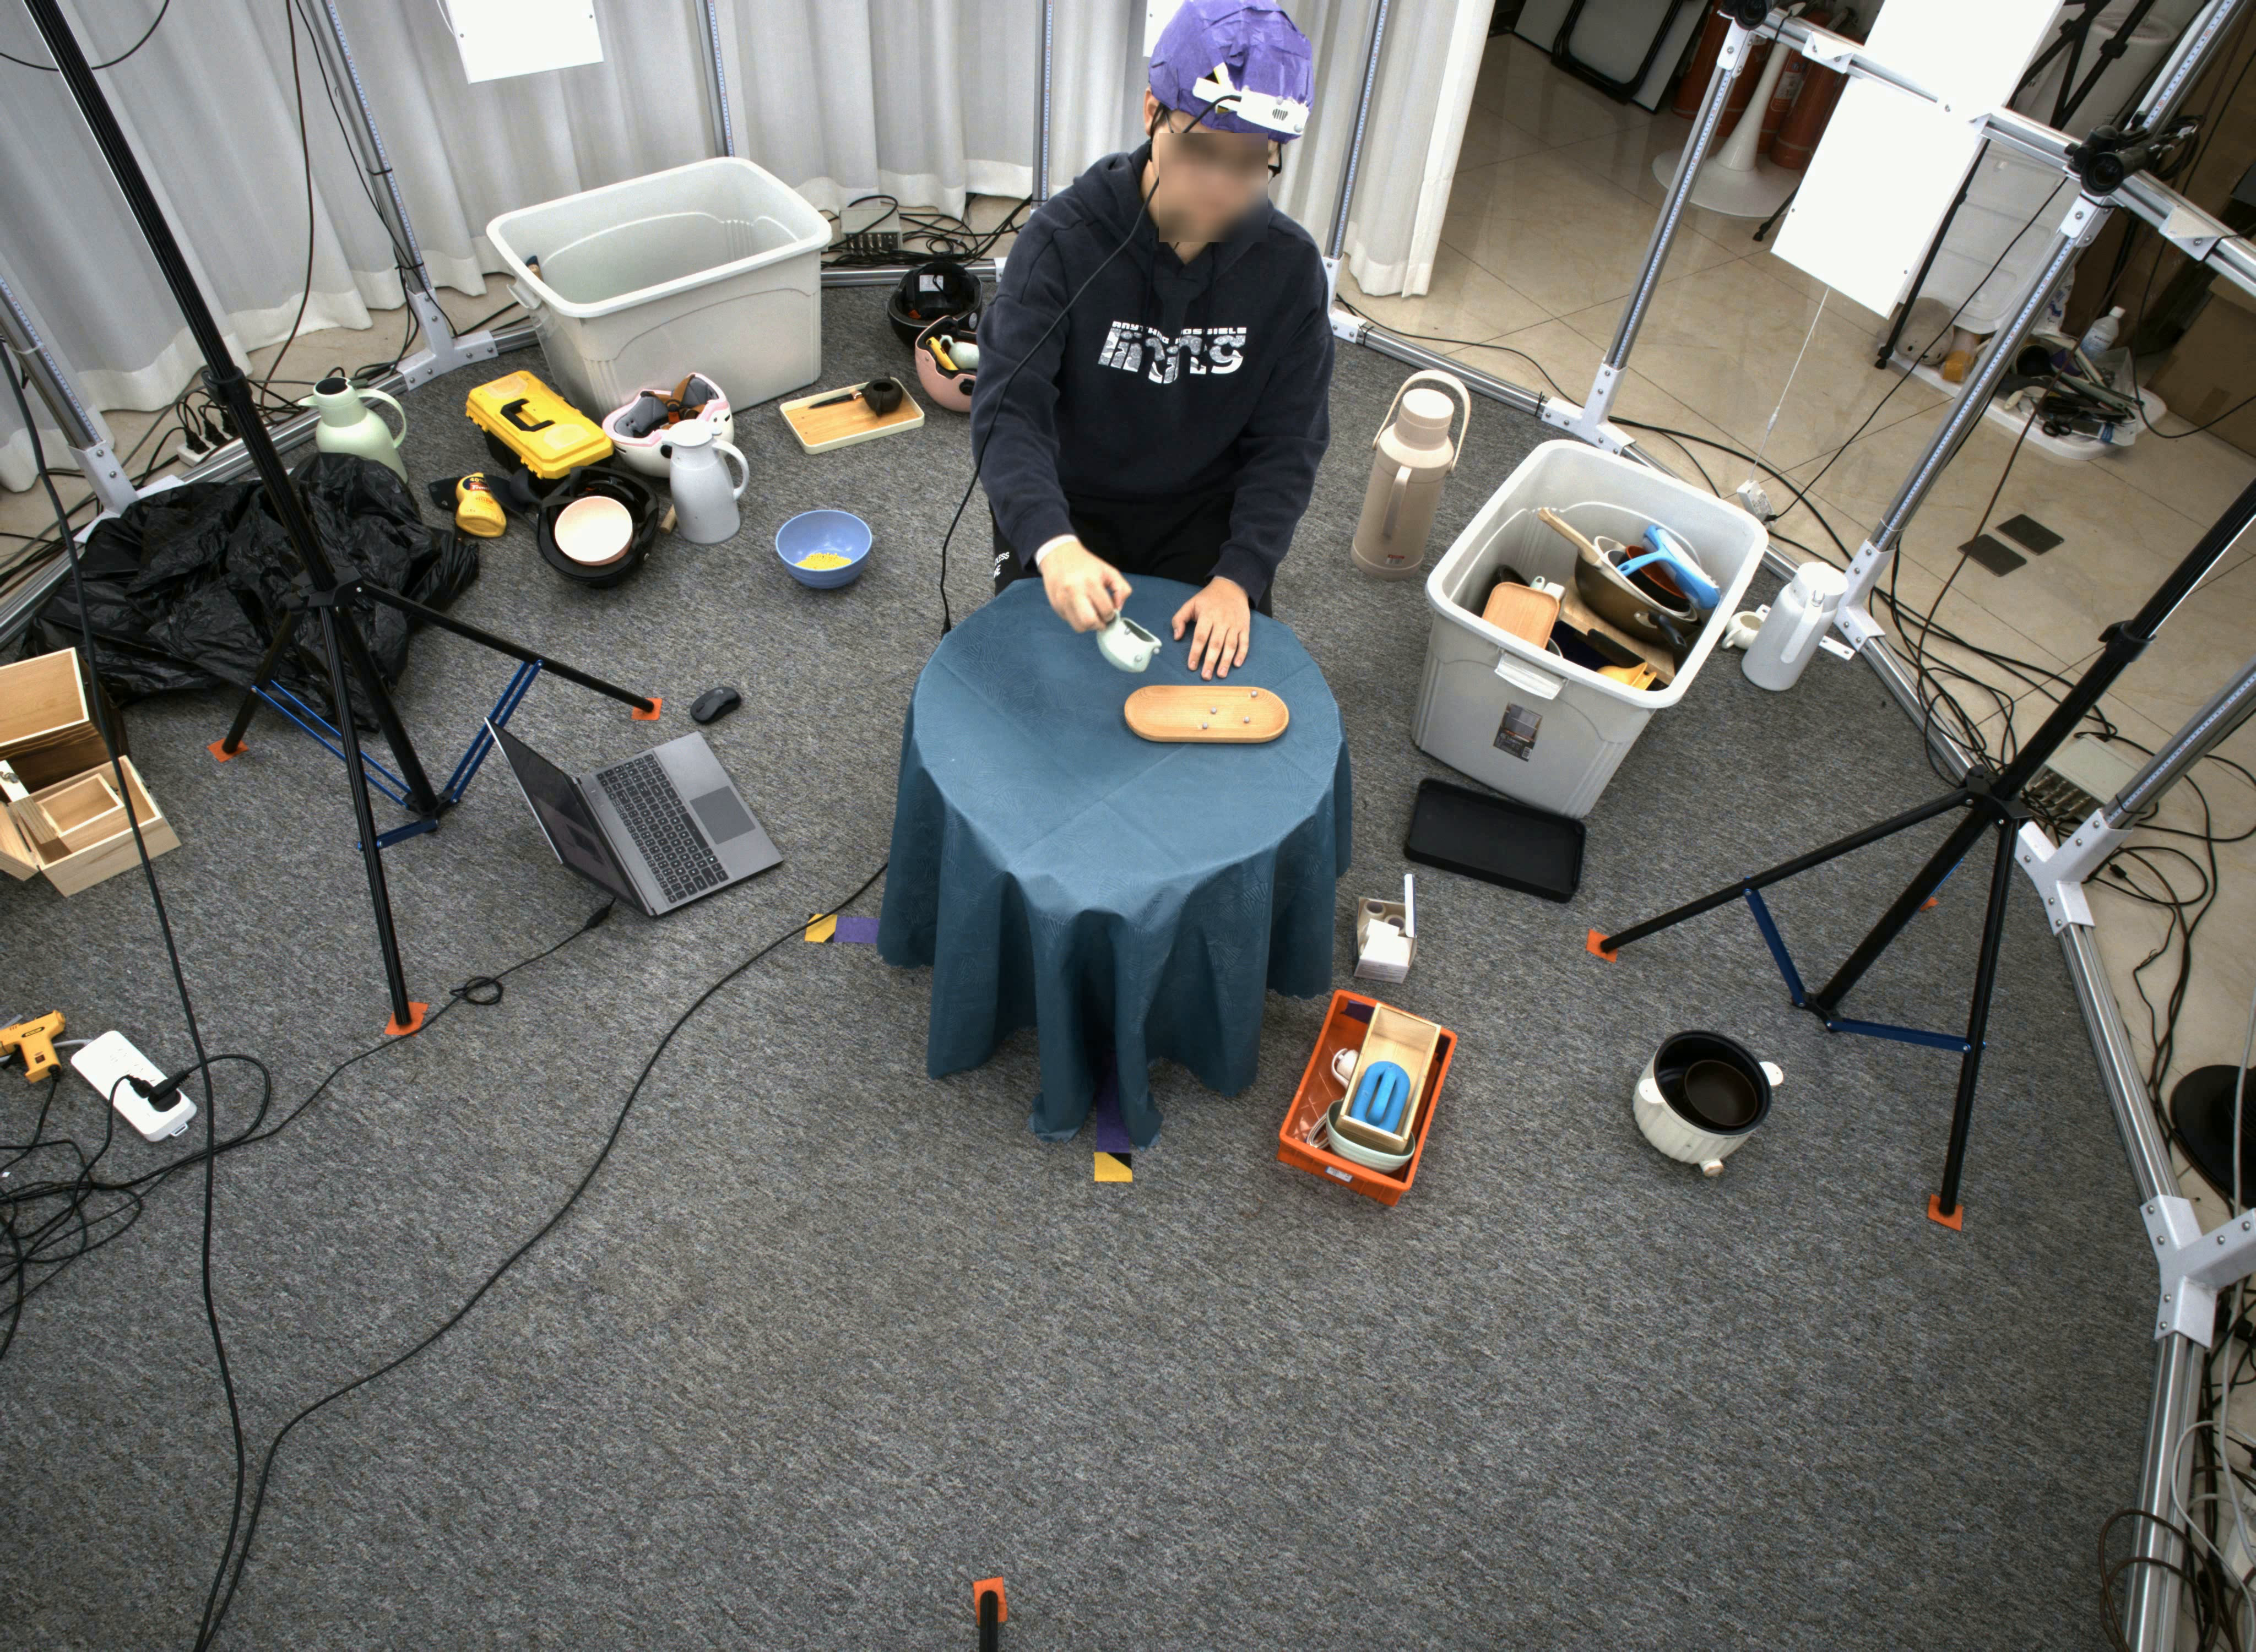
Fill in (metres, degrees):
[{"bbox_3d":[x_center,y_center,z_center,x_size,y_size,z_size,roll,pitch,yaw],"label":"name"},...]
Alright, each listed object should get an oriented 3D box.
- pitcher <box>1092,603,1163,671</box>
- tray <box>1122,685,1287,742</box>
[{"bbox_3d":[-0.009,-0.250,1.697,0.106,0.060,0.088,30,24,-34],"label":"pitcher"},{"bbox_3d":[0.107,-0.157,1.800,0.231,0.020,0.104,-1,48,-3],"label":"tray"}]
